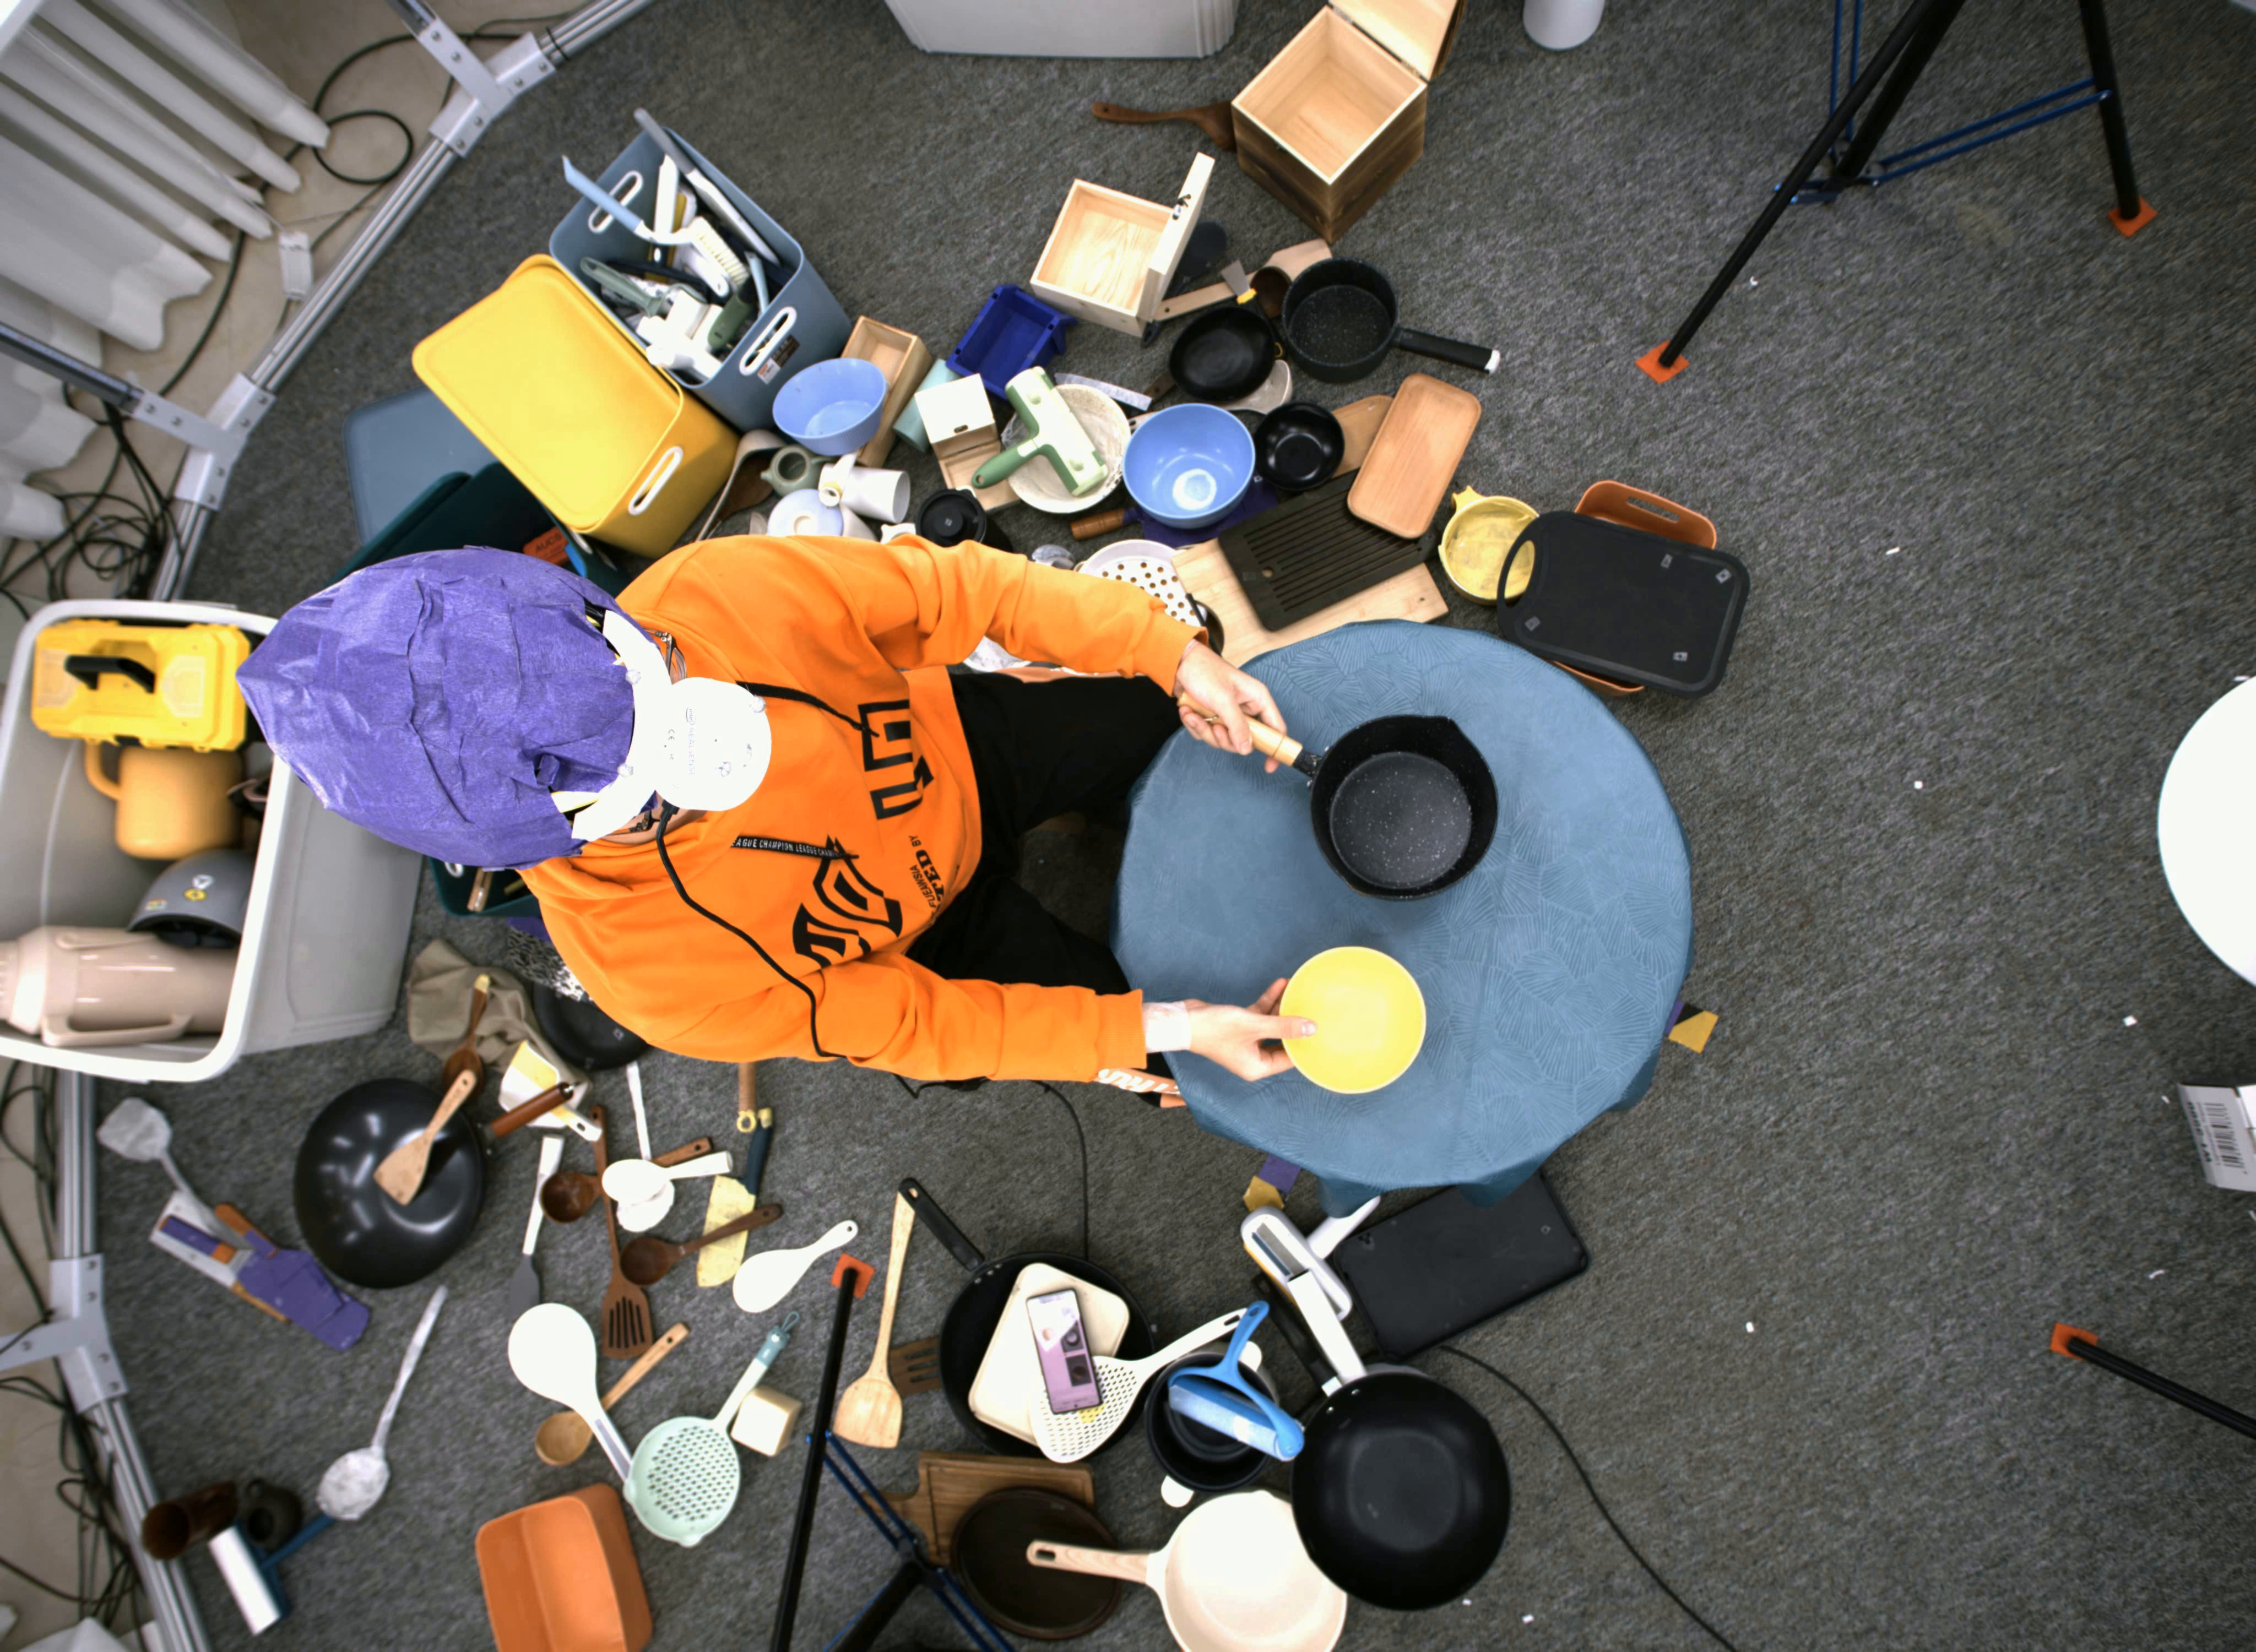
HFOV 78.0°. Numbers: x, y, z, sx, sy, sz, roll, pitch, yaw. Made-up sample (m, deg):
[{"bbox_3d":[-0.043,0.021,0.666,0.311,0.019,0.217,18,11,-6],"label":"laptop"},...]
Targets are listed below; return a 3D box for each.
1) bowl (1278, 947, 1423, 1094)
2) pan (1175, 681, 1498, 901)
[{"bbox_3d":[0.224,0.195,1.401,0.146,0.060,0.144,-1,85,8],"label":"bowl"},{"bbox_3d":[0.203,-0.051,1.393,0.342,0.108,0.207,26,88,11],"label":"pan"}]
